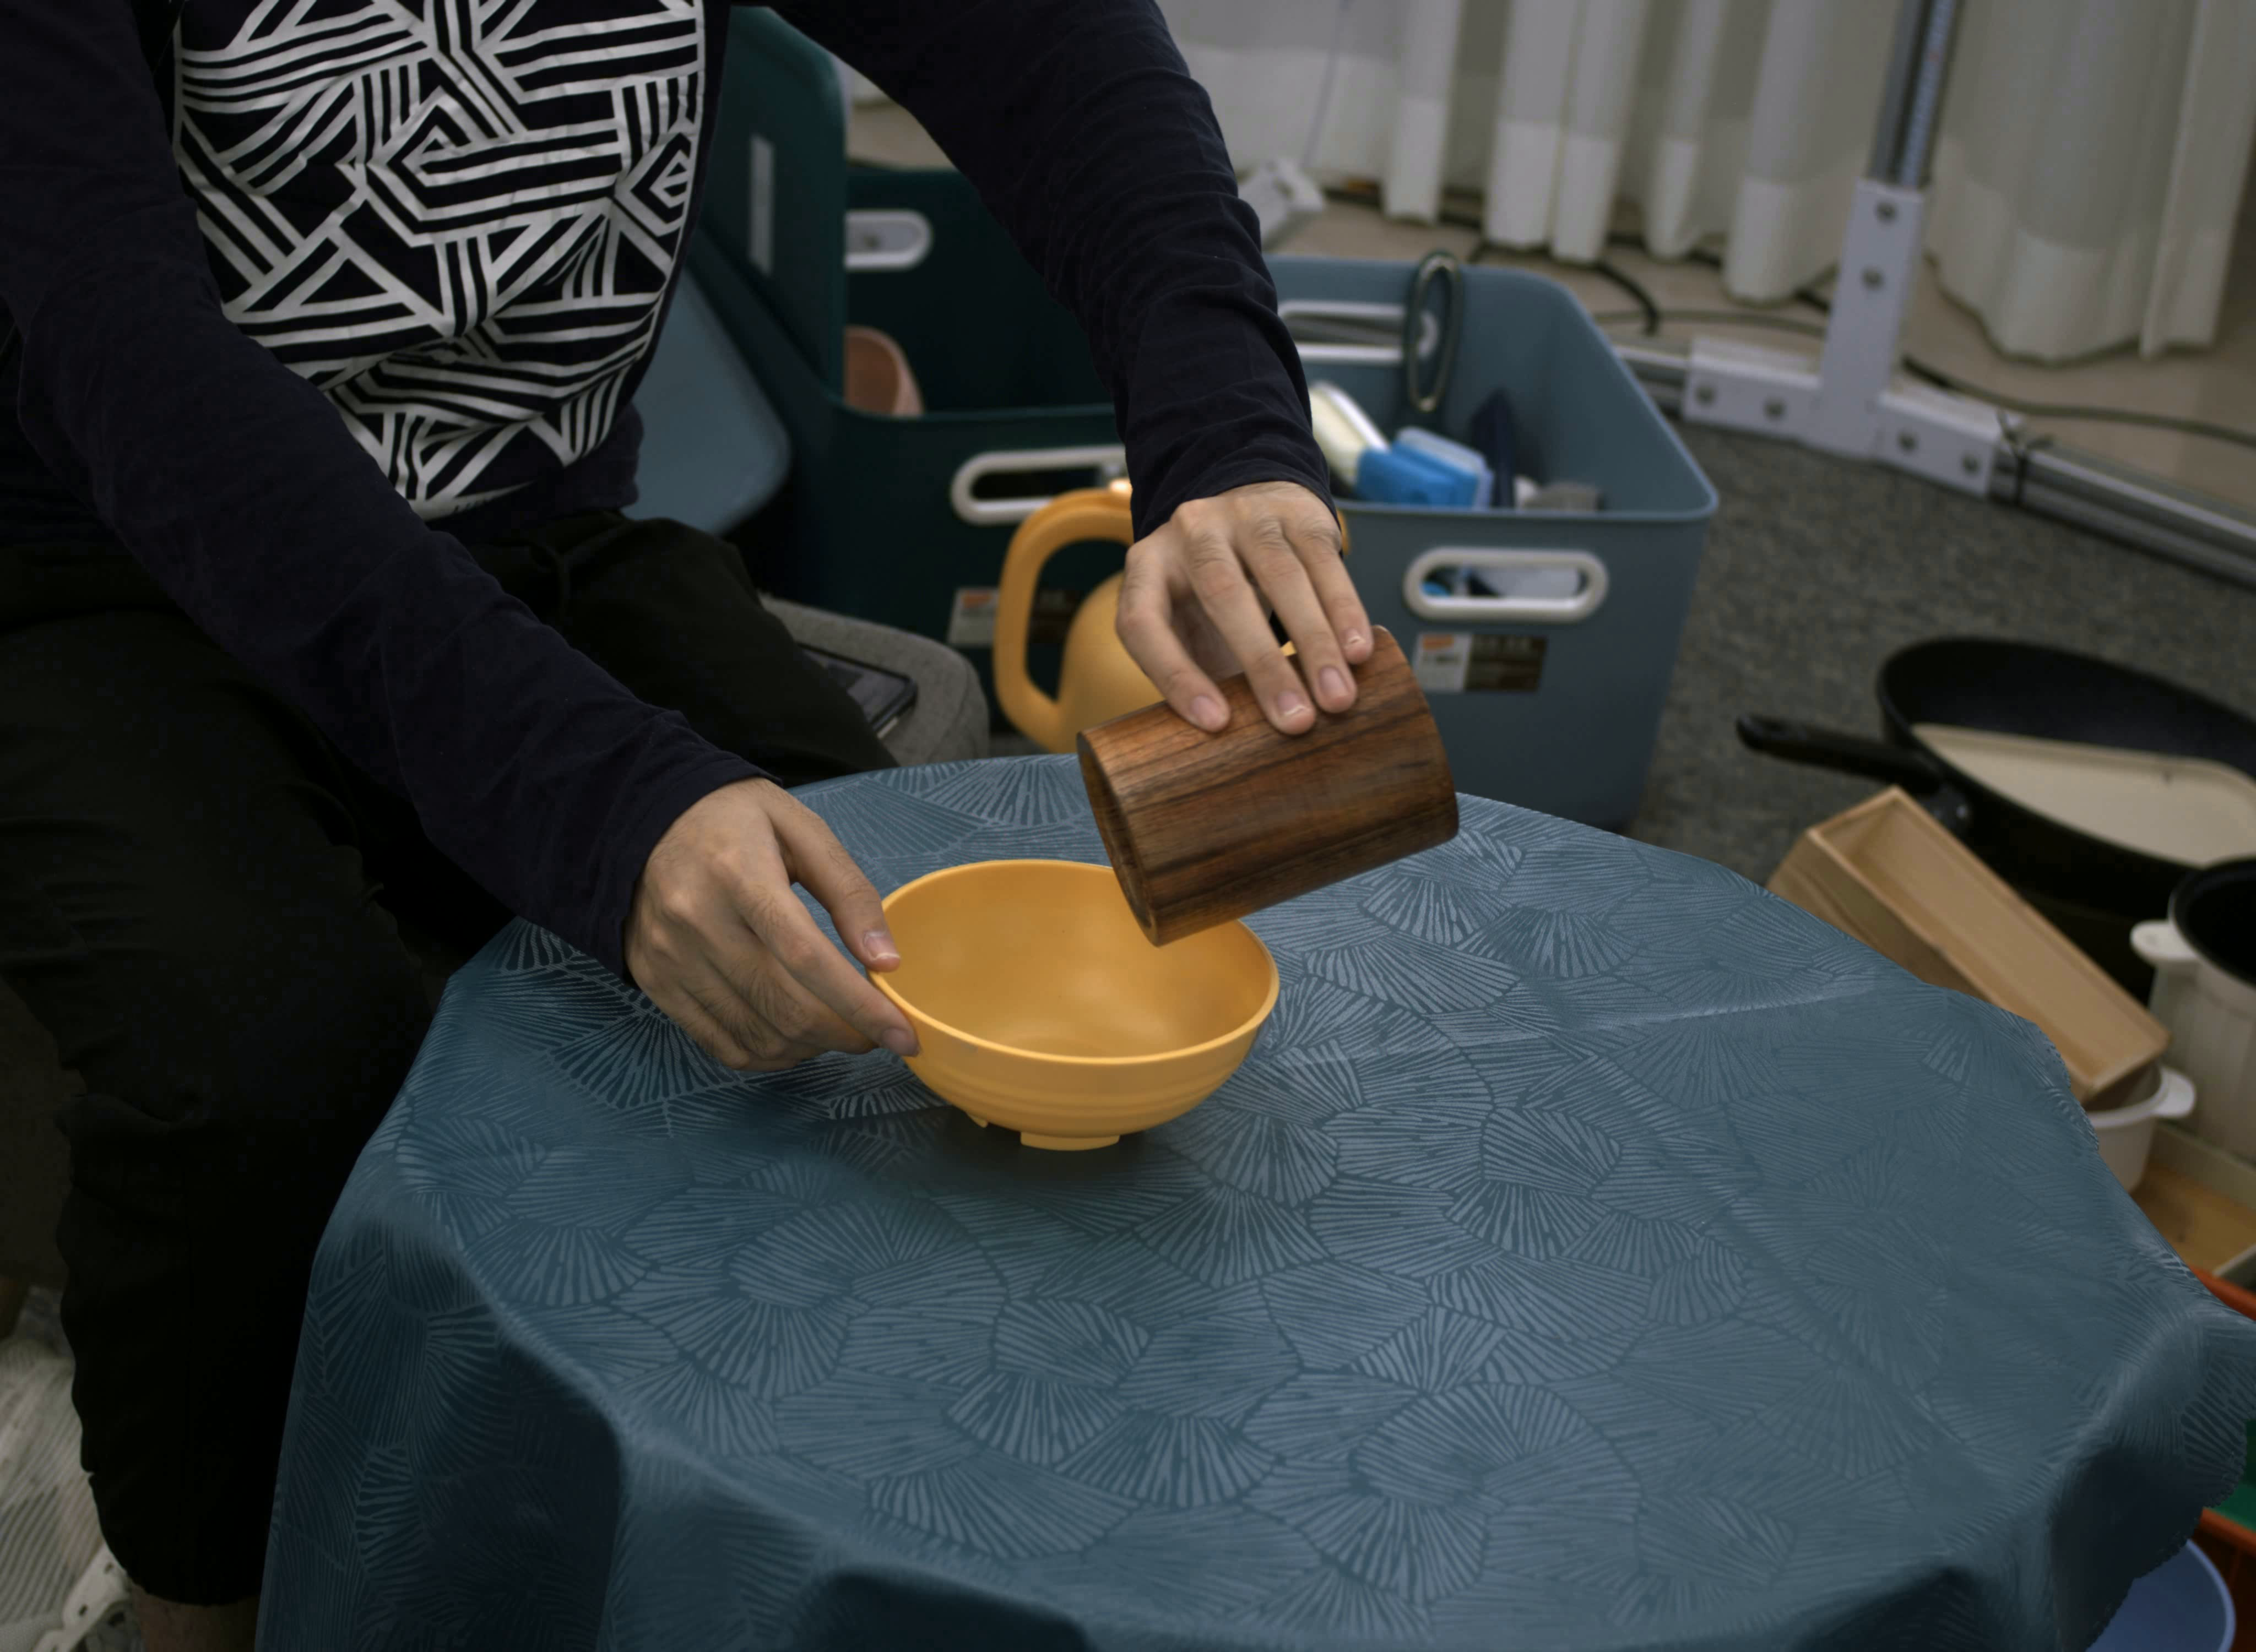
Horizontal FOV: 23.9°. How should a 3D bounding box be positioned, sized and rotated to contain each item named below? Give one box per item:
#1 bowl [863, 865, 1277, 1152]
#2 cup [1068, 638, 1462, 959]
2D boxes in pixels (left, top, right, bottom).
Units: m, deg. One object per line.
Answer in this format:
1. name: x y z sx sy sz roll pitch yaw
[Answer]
1. bowl: -0.023 0.071 1.840 0.145 0.060 0.146 5 25 -3
2. cup: 0.047 -0.010 1.829 0.118 0.087 0.088 -16 31 -8
